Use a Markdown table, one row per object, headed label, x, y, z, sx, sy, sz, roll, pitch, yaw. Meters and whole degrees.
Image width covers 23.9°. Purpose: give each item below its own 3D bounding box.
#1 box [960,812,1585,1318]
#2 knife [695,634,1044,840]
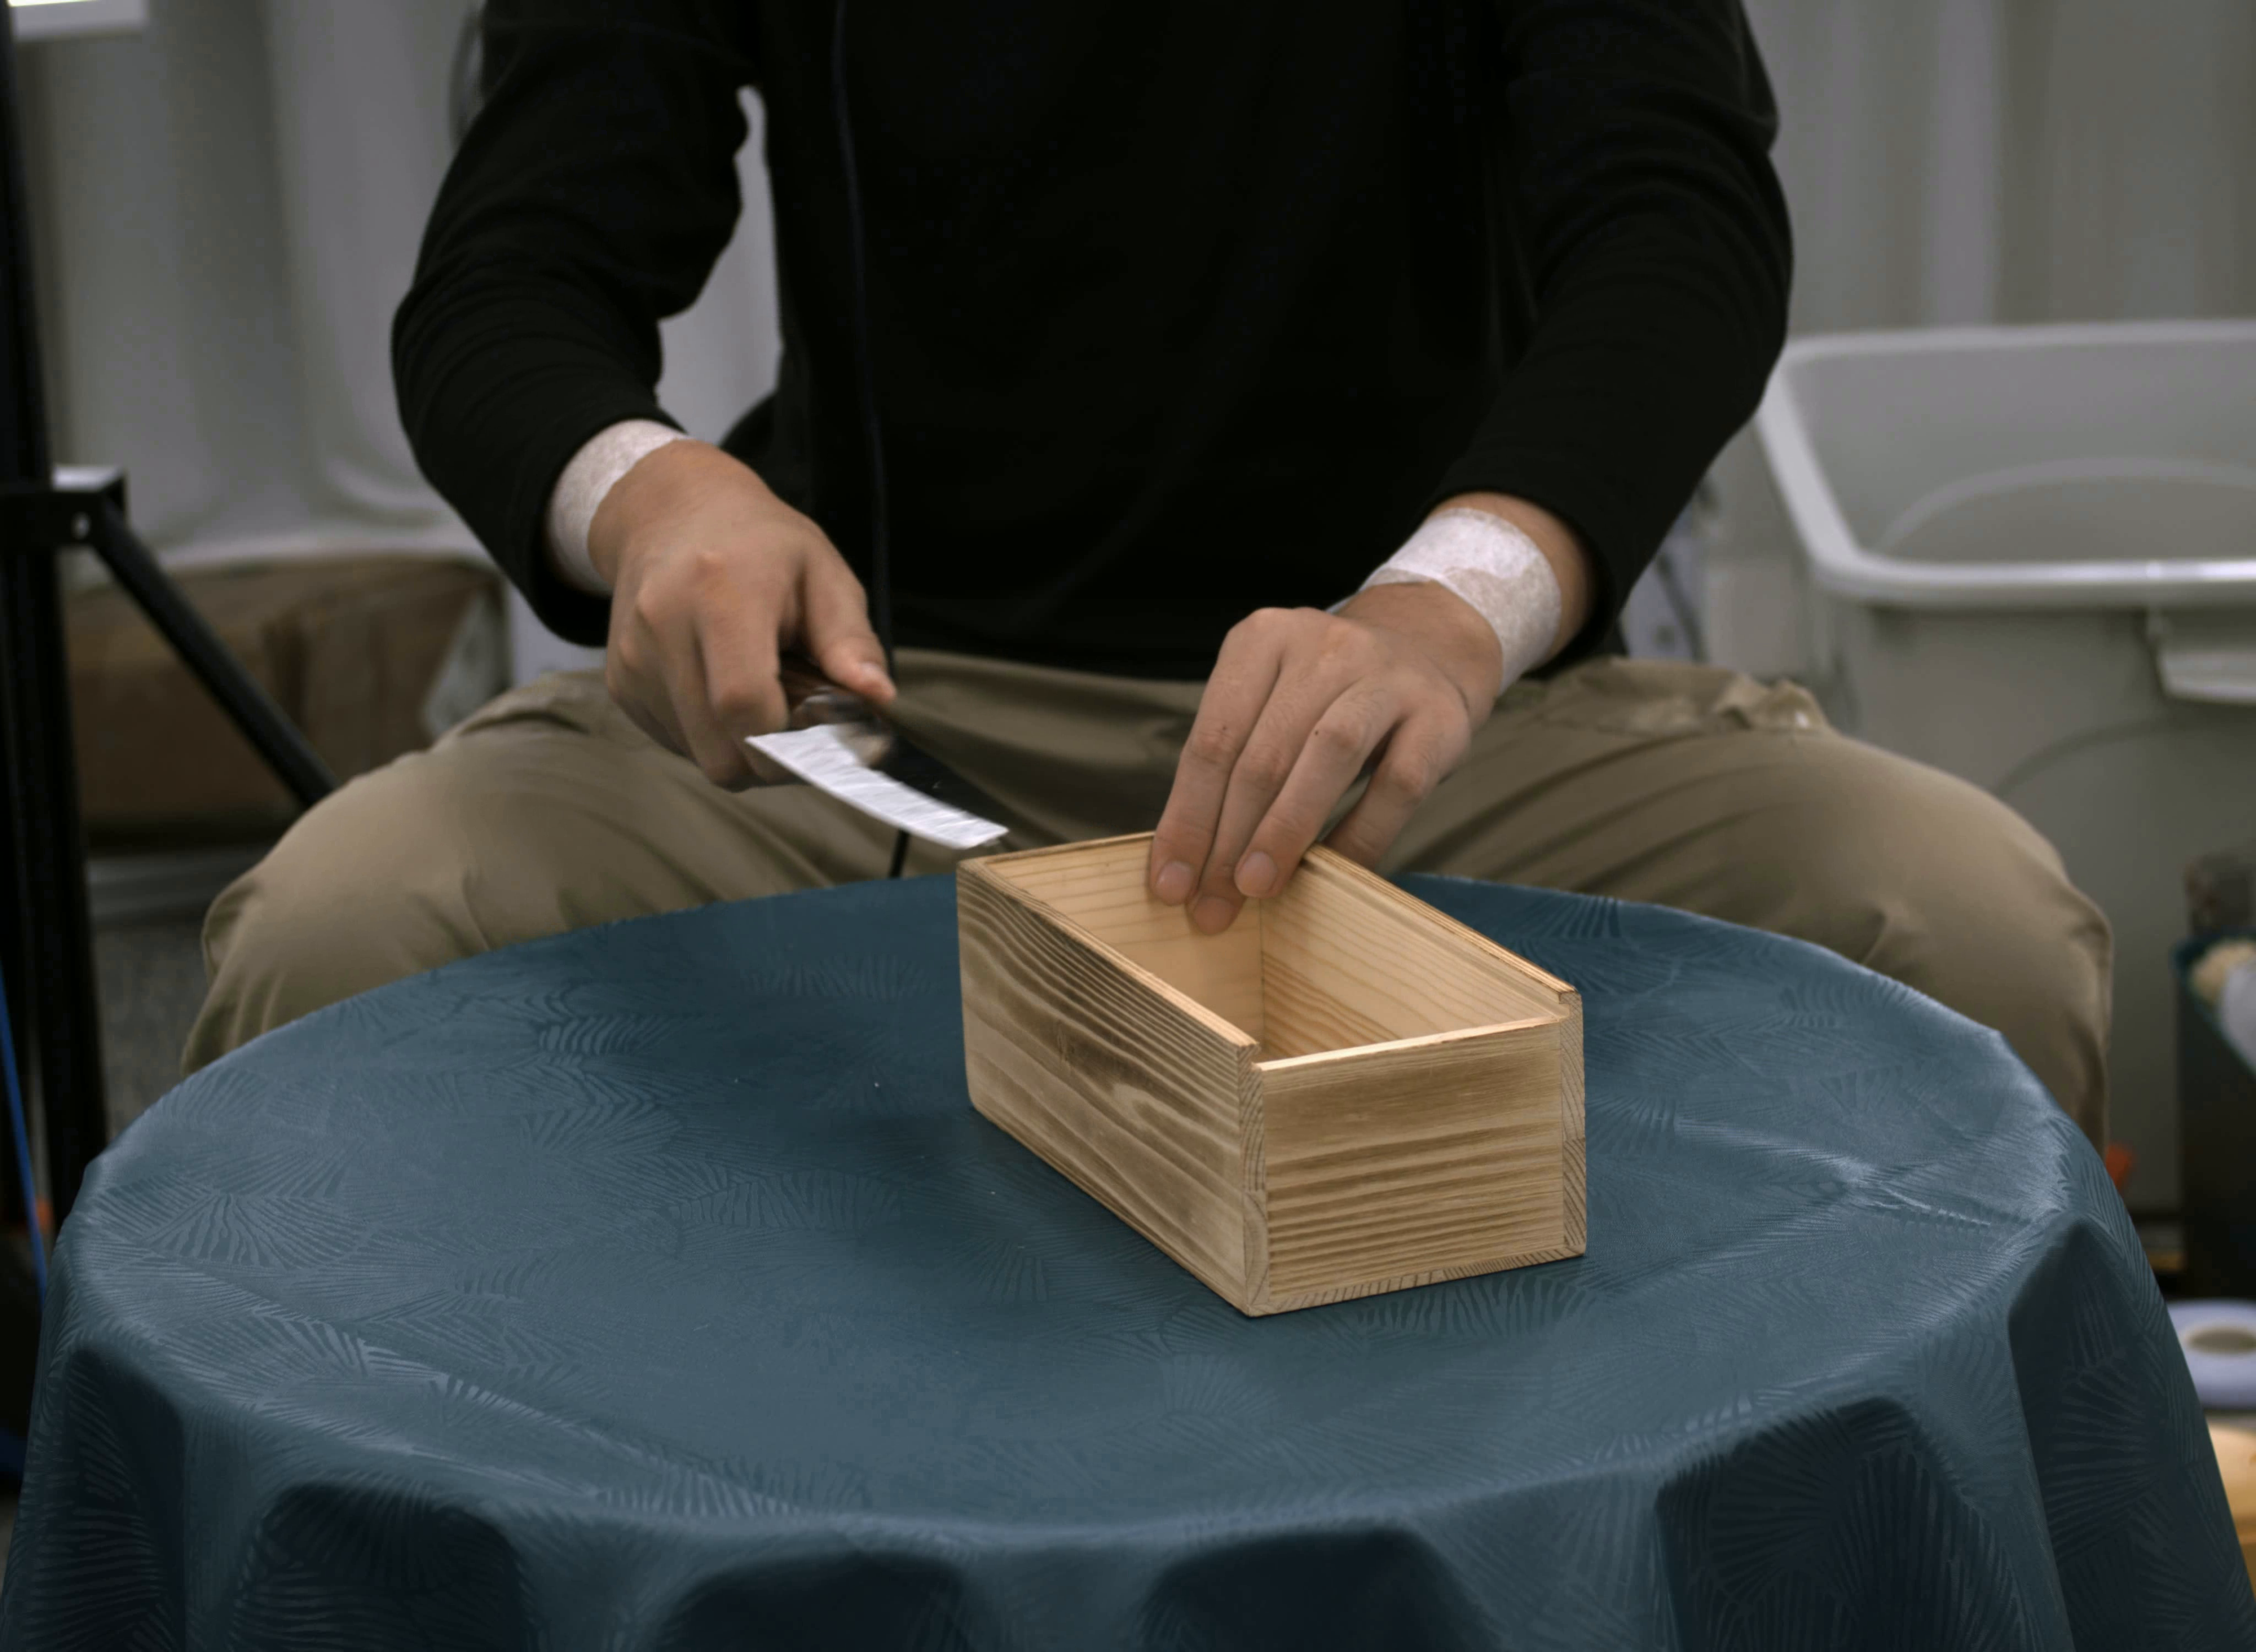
| label | x | y | z | sx | sy | sz | roll | pitch | yaw |
| --- | --- | --- | --- | --- | --- | --- | --- | --- | --- |
| box | 0.038 | 0.066 | 1.555 | 0.105 | 0.080 | 0.215 | -8 | 17 | -21 |
| knife | -0.084 | -0.026 | 1.637 | 0.049 | 0.020 | 0.294 | -7 | 14 | -18 |
